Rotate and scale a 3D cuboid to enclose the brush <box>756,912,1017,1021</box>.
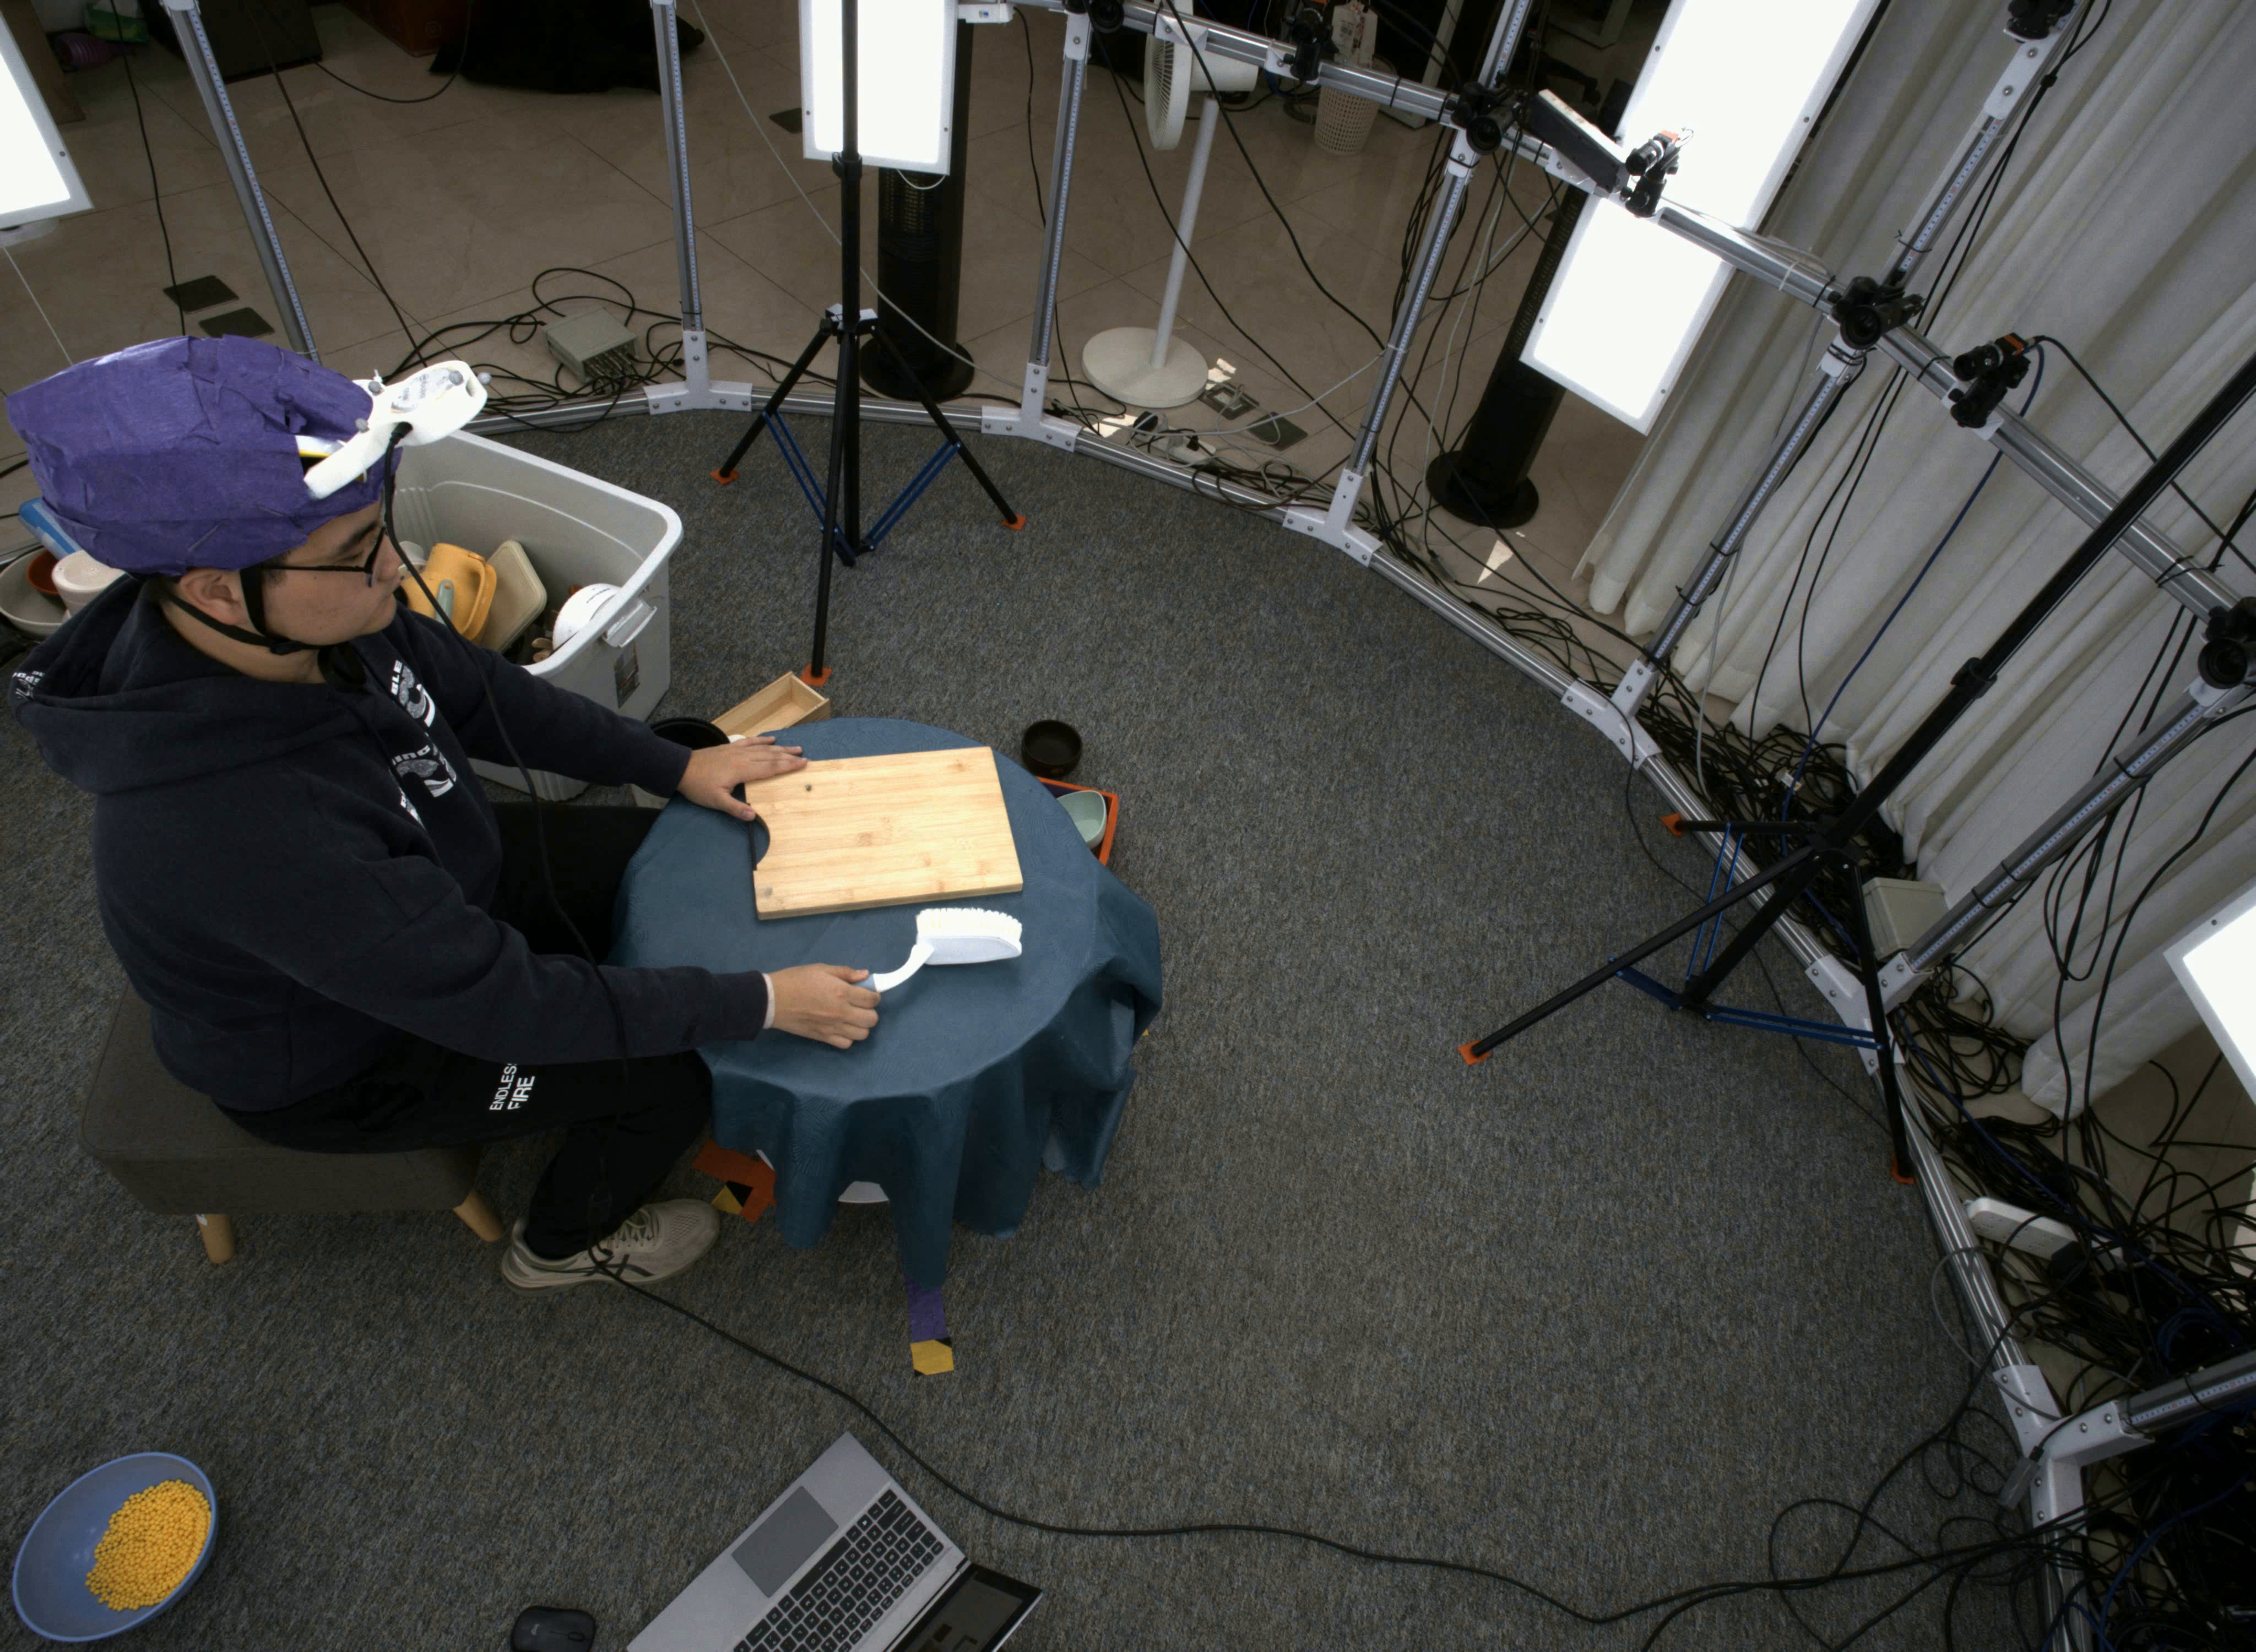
[{"bbox_3d":[-0.294,0.154,1.584,0.325,0.085,0.082,-11,20,-15],"label":"brush"}]

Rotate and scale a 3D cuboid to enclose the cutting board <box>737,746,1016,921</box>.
[{"bbox_3d":[-0.334,0.003,1.730,0.350,0.024,0.244,-6,55,-18],"label":"cutting board"}]
